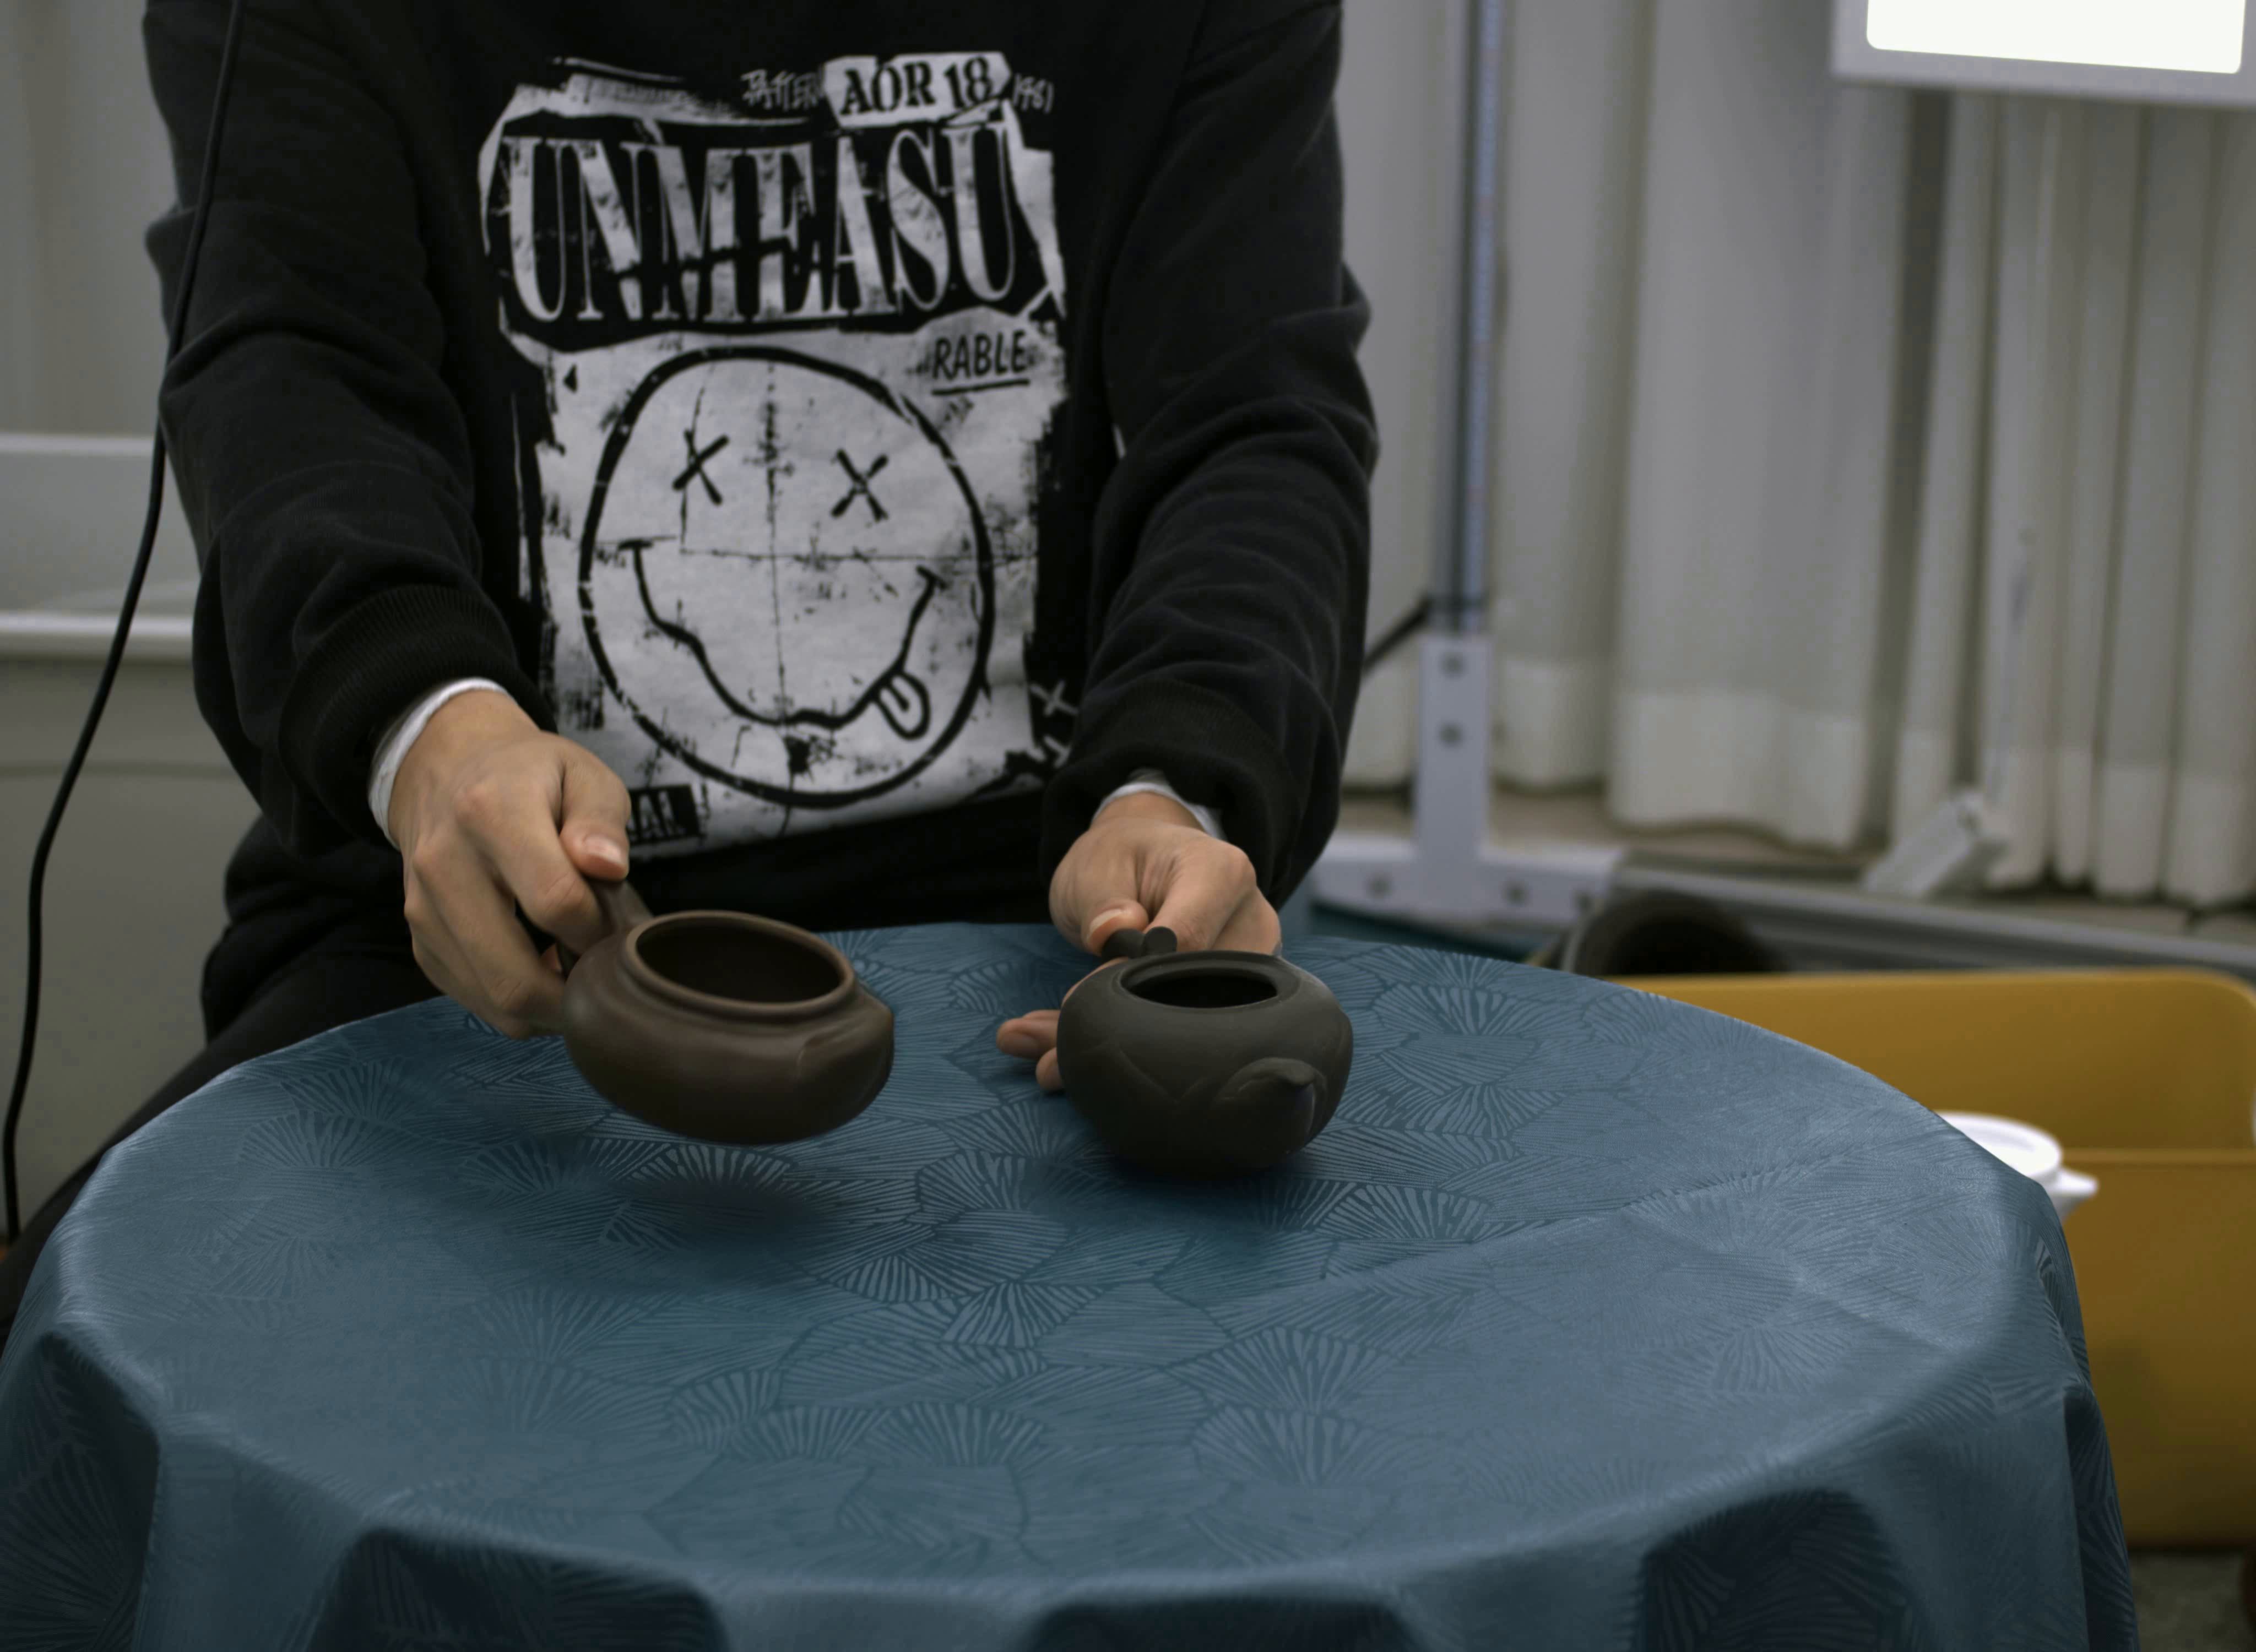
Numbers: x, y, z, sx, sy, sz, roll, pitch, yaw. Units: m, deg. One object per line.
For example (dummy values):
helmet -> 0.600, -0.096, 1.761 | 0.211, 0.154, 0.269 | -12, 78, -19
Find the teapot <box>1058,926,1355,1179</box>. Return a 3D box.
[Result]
teapot -> 0.023, 0.072, 1.648 | 0.092, 0.065, 0.152 | -5, 19, -21

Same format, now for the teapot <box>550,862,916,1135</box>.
teapot -> -0.123, 0.055, 1.594 | 0.151, 0.054, 0.103 | 27, 24, 33
